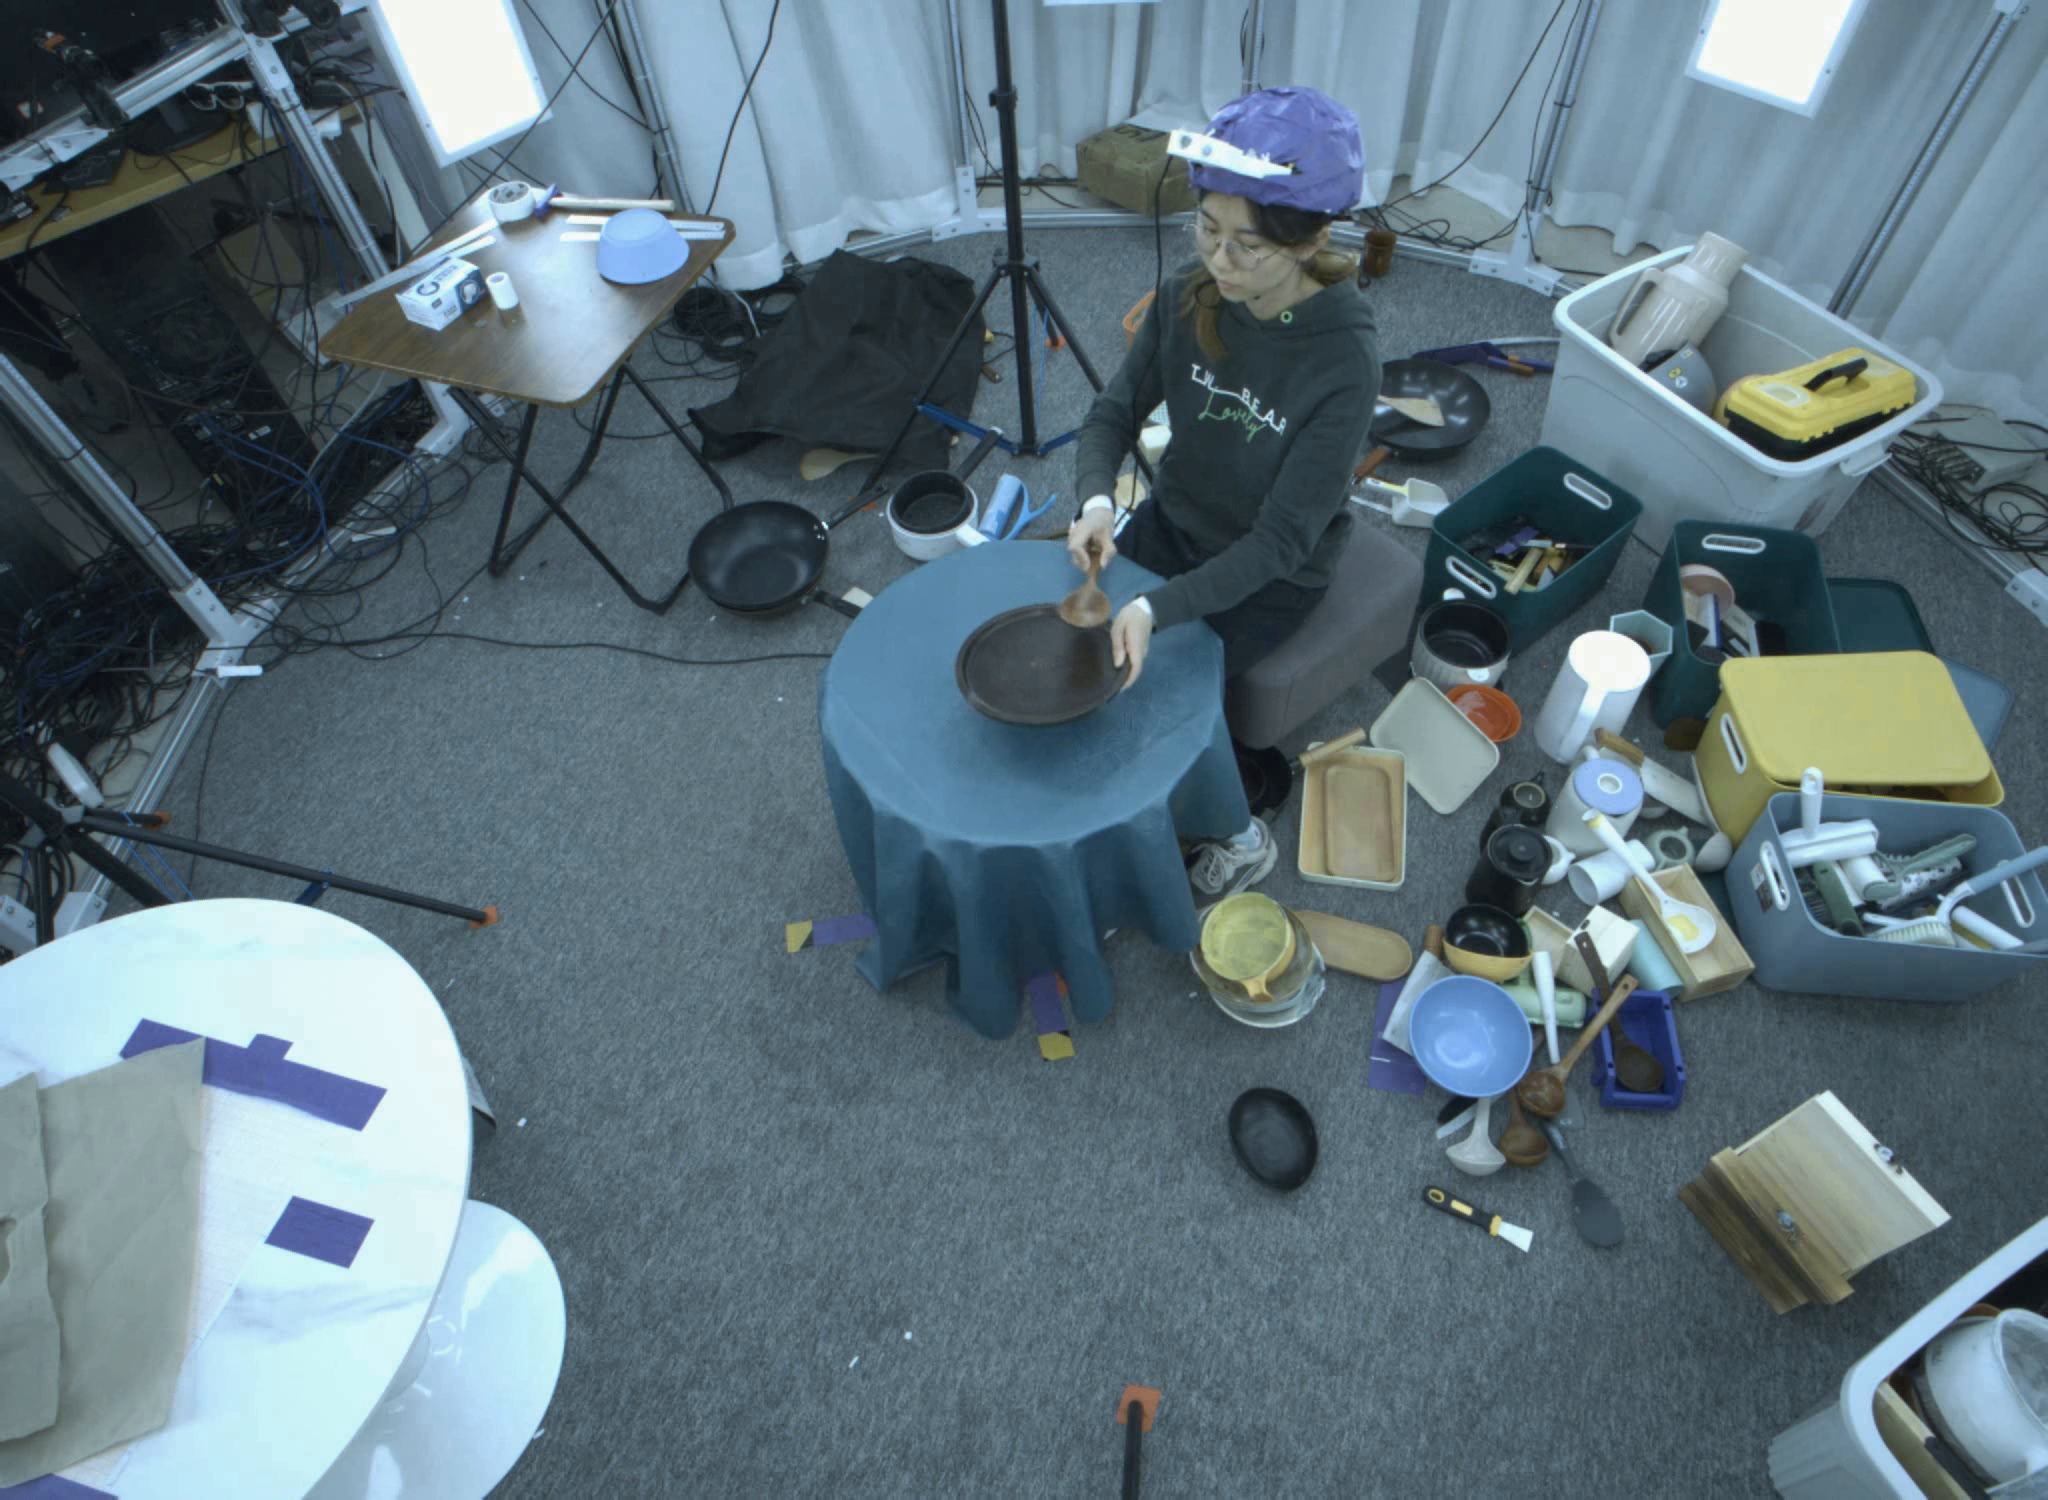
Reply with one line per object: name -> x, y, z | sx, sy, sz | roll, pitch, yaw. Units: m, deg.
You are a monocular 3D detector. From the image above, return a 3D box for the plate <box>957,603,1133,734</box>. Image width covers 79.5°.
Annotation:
plate -> 0.030, -0.116, 1.766 | 0.254, 0.029, 0.252 | -2, 49, 4

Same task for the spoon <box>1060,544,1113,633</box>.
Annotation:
spoon -> 0.098, -0.234, 1.786 | 0.075, 0.017, 0.214 | 6, 44, 7
